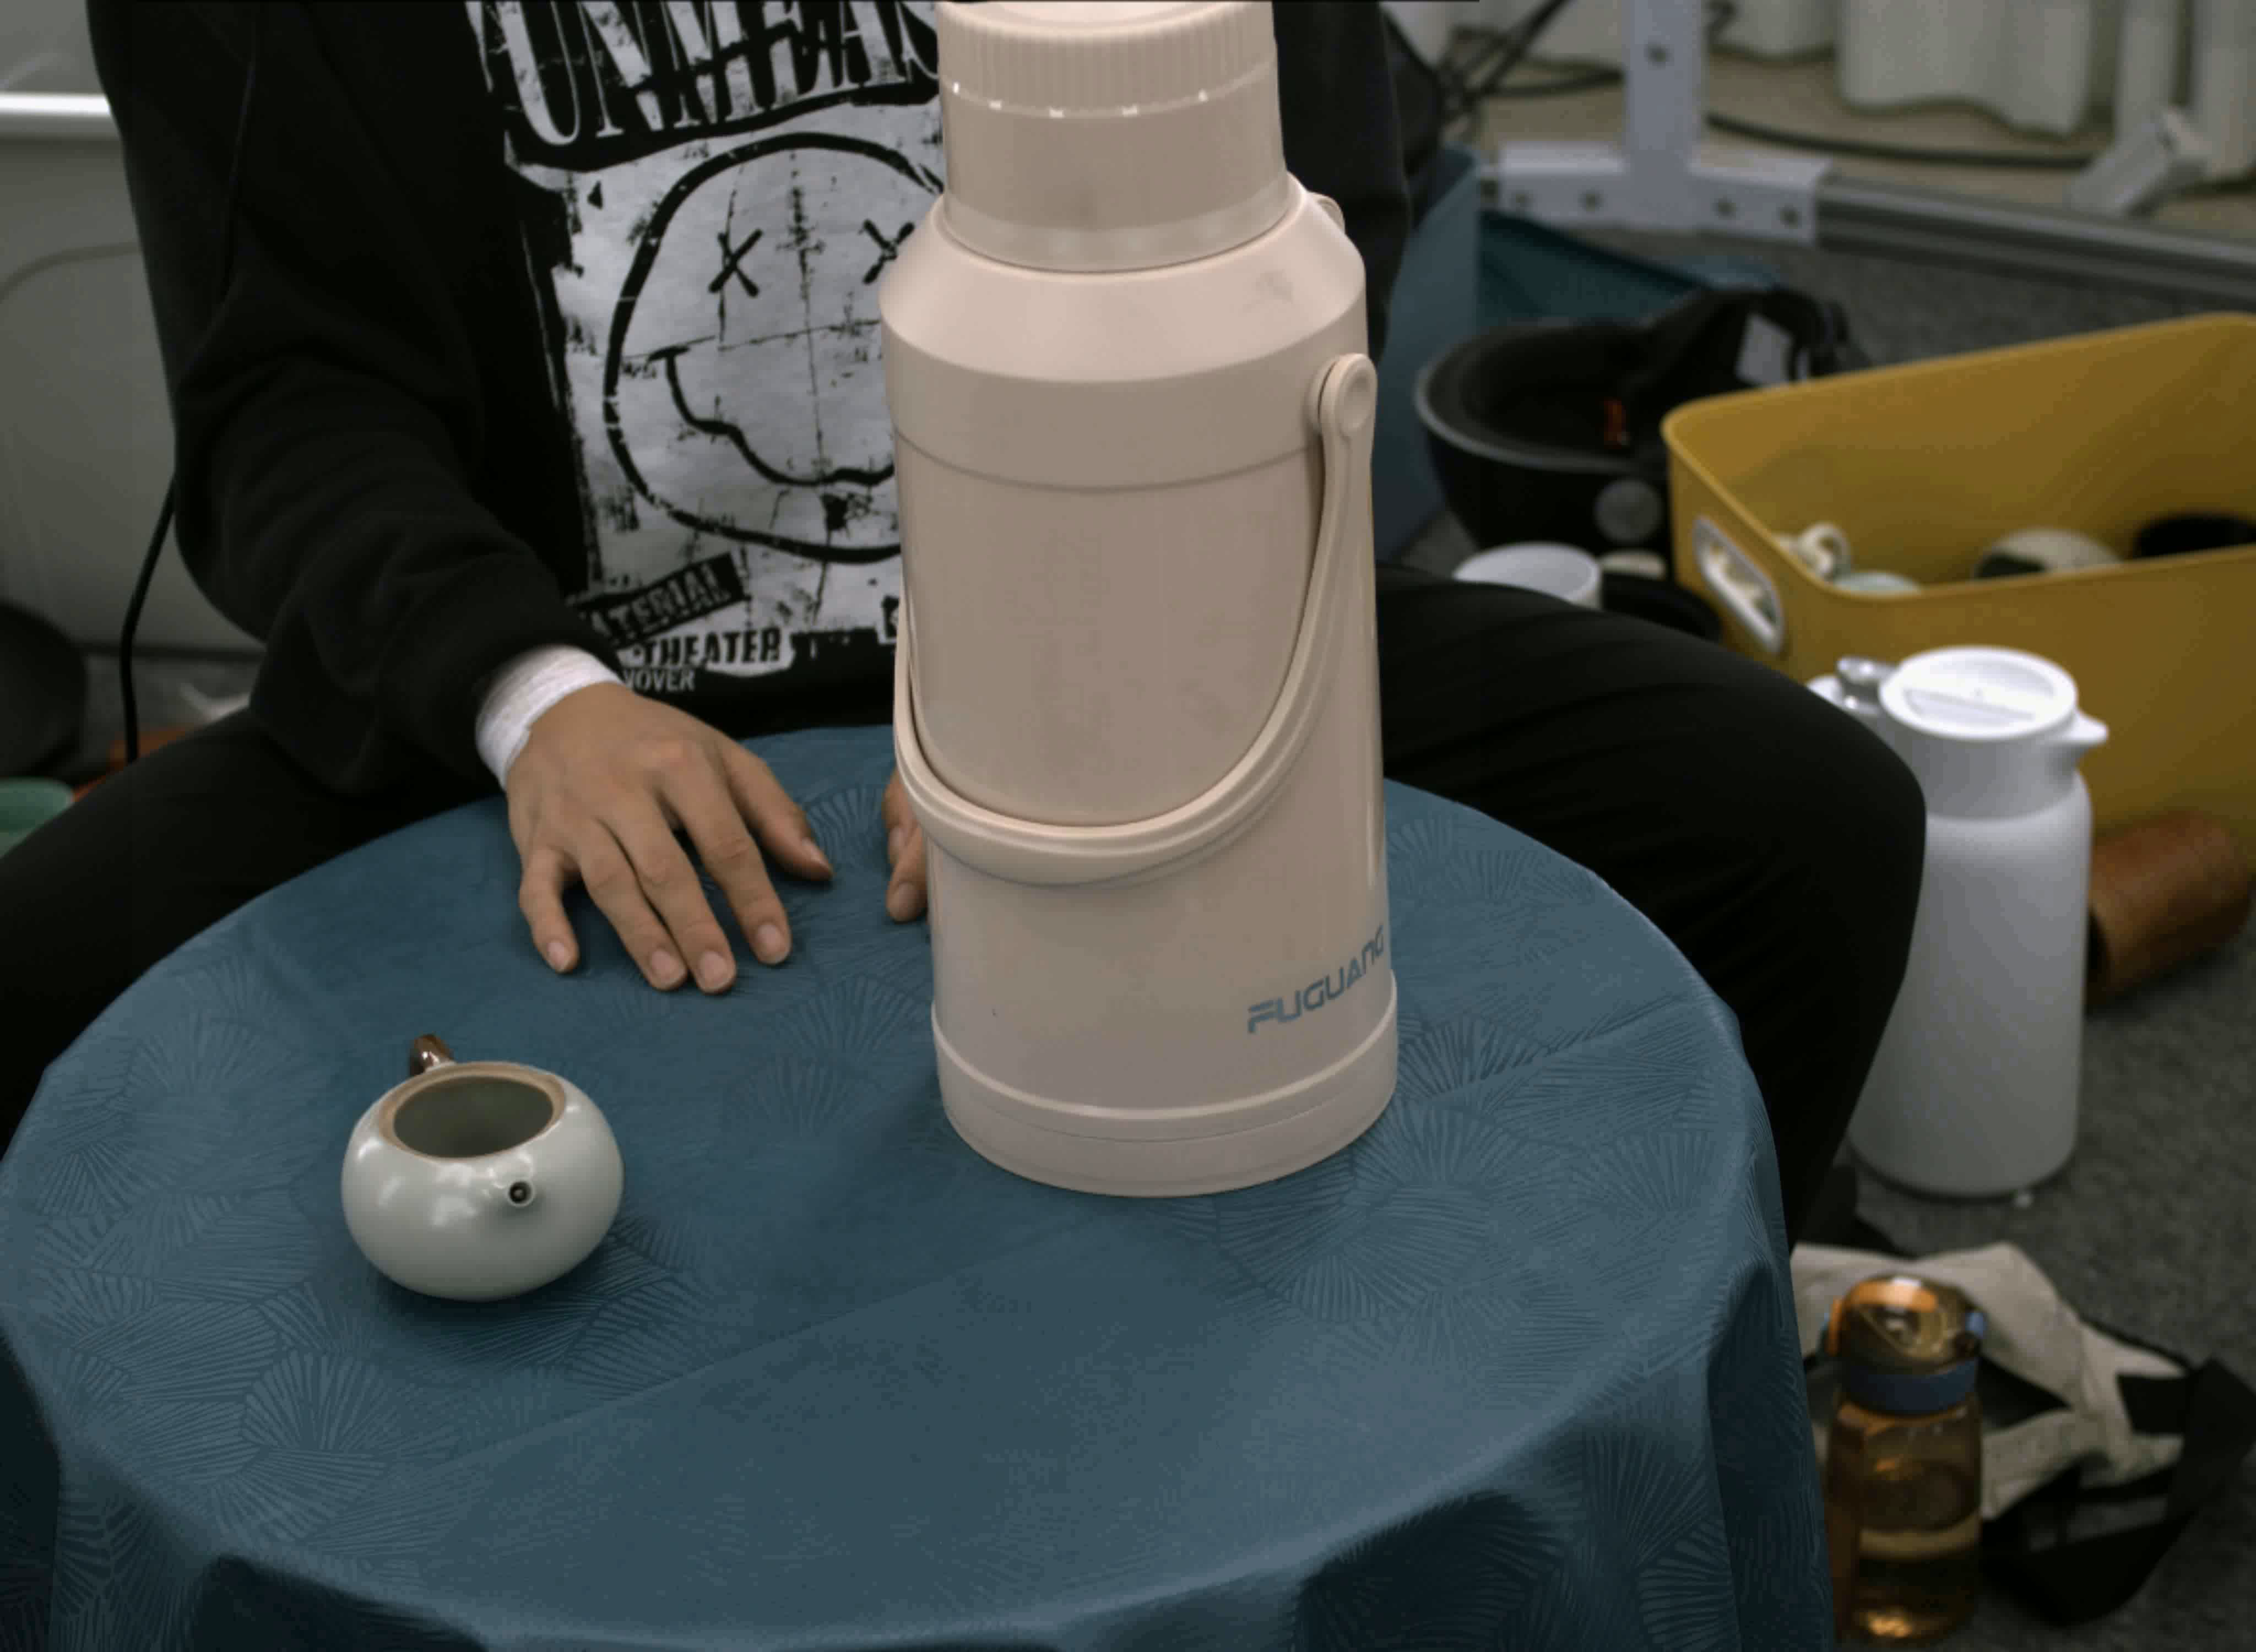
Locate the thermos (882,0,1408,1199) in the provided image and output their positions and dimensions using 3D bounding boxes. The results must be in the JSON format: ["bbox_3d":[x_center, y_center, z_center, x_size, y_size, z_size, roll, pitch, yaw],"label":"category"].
[{"bbox_3d":[0.014,-0.094,1.849,0.174,0.402,0.210,11,30,31],"label":"thermos"}]

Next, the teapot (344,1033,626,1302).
[{"bbox_3d":[-0.213,0.112,1.834,0.092,0.059,0.129,-18,31,-18],"label":"teapot"}]
